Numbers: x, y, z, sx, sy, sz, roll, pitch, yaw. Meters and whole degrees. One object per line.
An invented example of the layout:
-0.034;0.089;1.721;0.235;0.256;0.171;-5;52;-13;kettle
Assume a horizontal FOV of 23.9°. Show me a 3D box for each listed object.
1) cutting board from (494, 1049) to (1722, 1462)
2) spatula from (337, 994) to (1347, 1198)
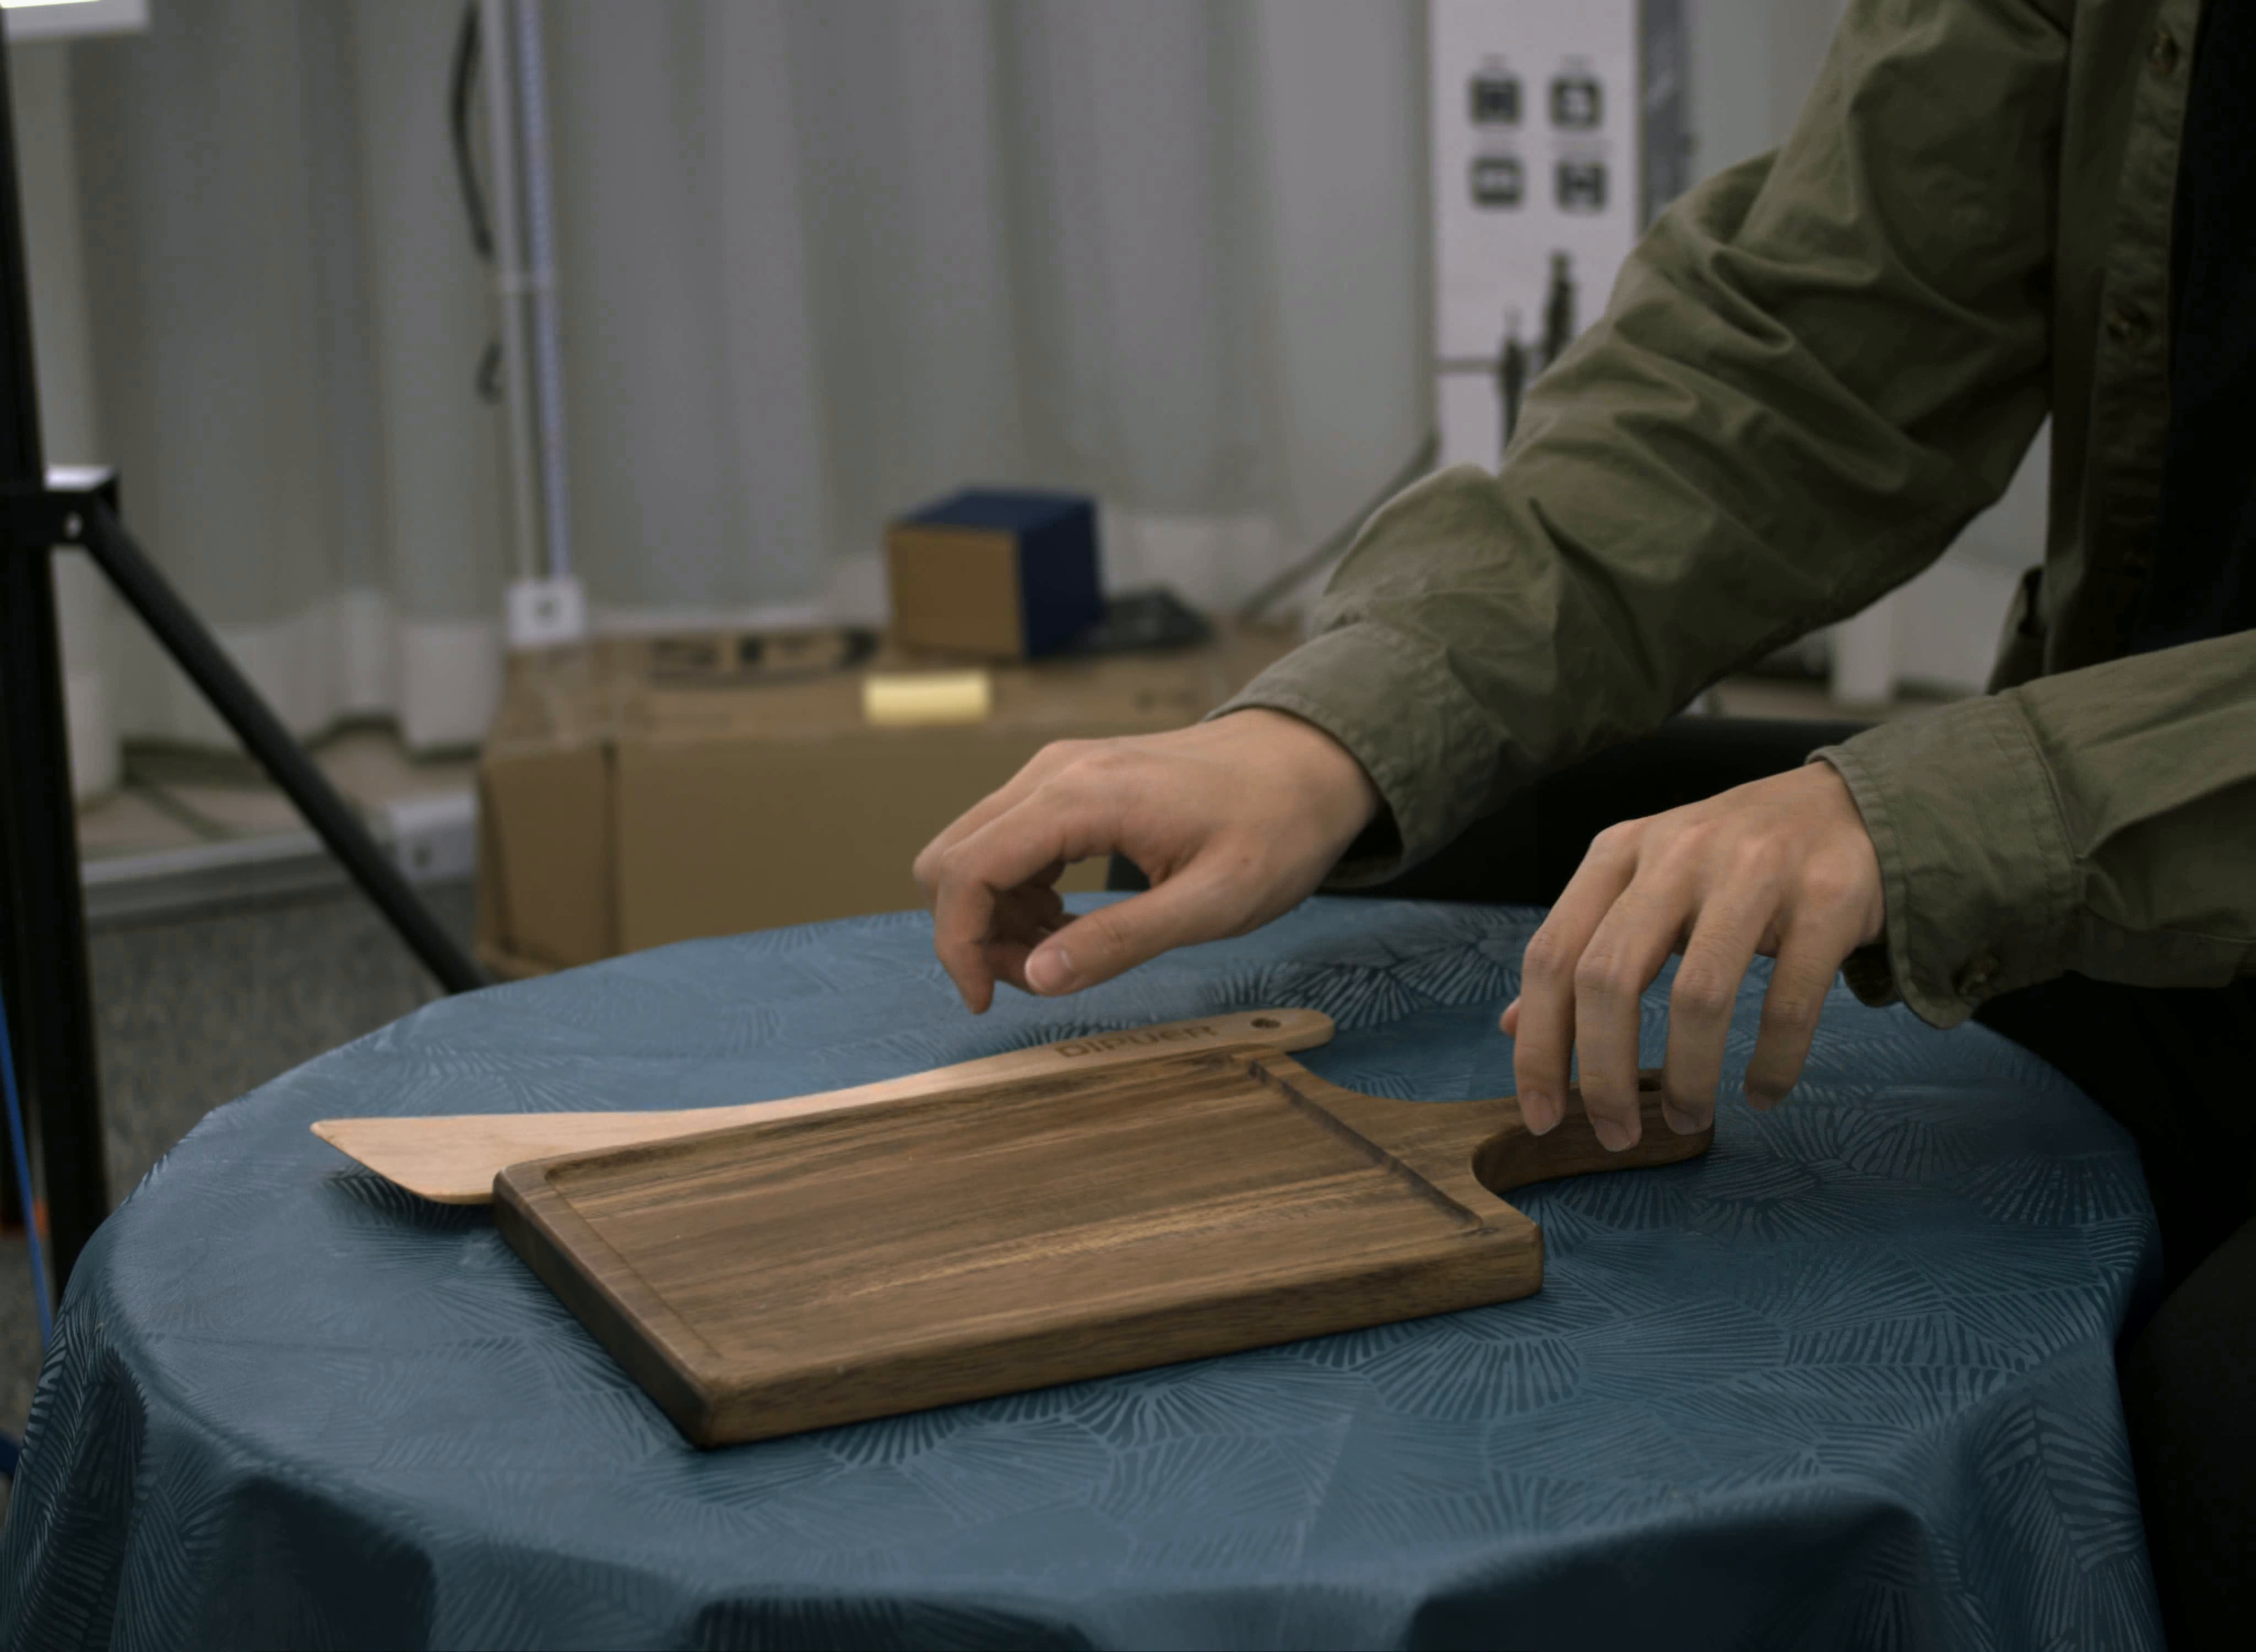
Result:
0.012;0.110;1.514;0.346;0.023;0.204;-8;17;-19;cutting board
-0.077;0.079;1.642;0.321;0.016;0.081;-10;18;-22;spatula
